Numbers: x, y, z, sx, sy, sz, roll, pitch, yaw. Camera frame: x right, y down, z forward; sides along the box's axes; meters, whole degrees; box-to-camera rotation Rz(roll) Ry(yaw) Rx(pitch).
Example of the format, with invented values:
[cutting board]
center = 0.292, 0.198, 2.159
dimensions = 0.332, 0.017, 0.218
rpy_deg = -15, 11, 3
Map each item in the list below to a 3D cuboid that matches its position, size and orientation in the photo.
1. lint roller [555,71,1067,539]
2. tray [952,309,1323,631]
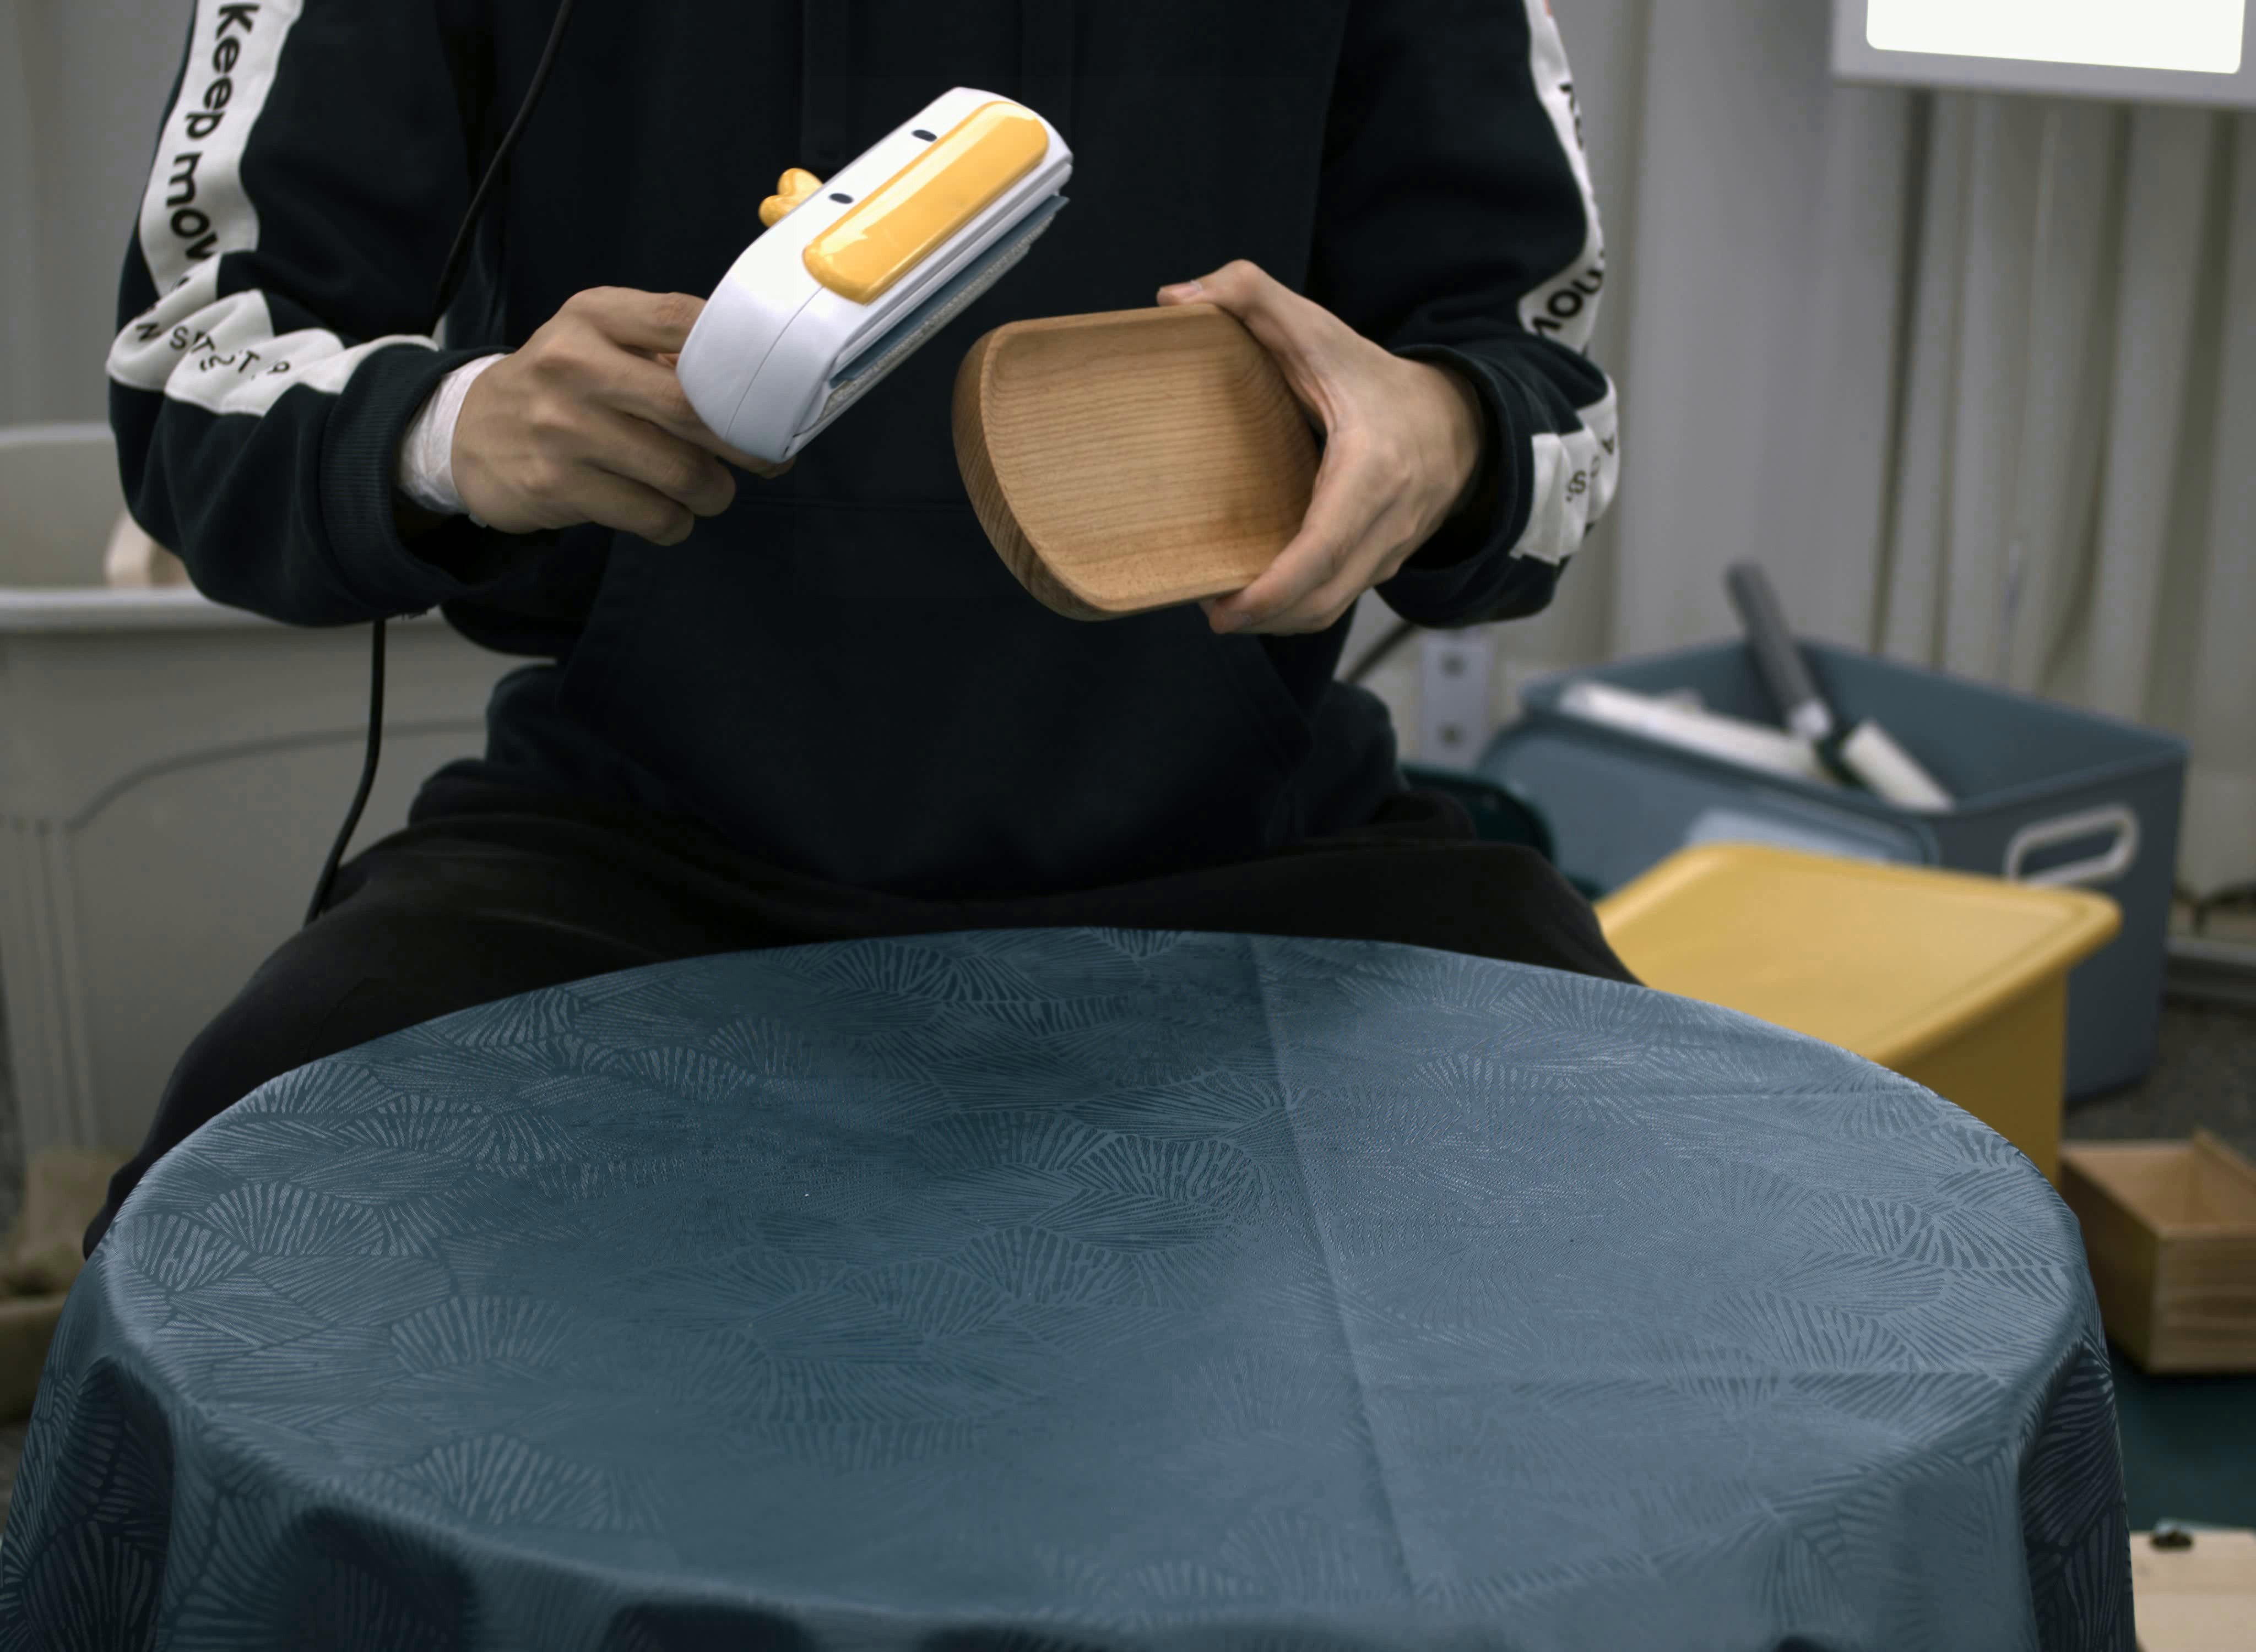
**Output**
[lint roller]
center = -0.116, -0.151, 1.711
dimensions = 0.074, 0.192, 0.192
rpy_deg = 40, 34, -4
[tray]
center = 0.005, -0.118, 1.737
dimensions = 0.020, 0.102, 0.232
rpy_deg = -22, -2, 28
